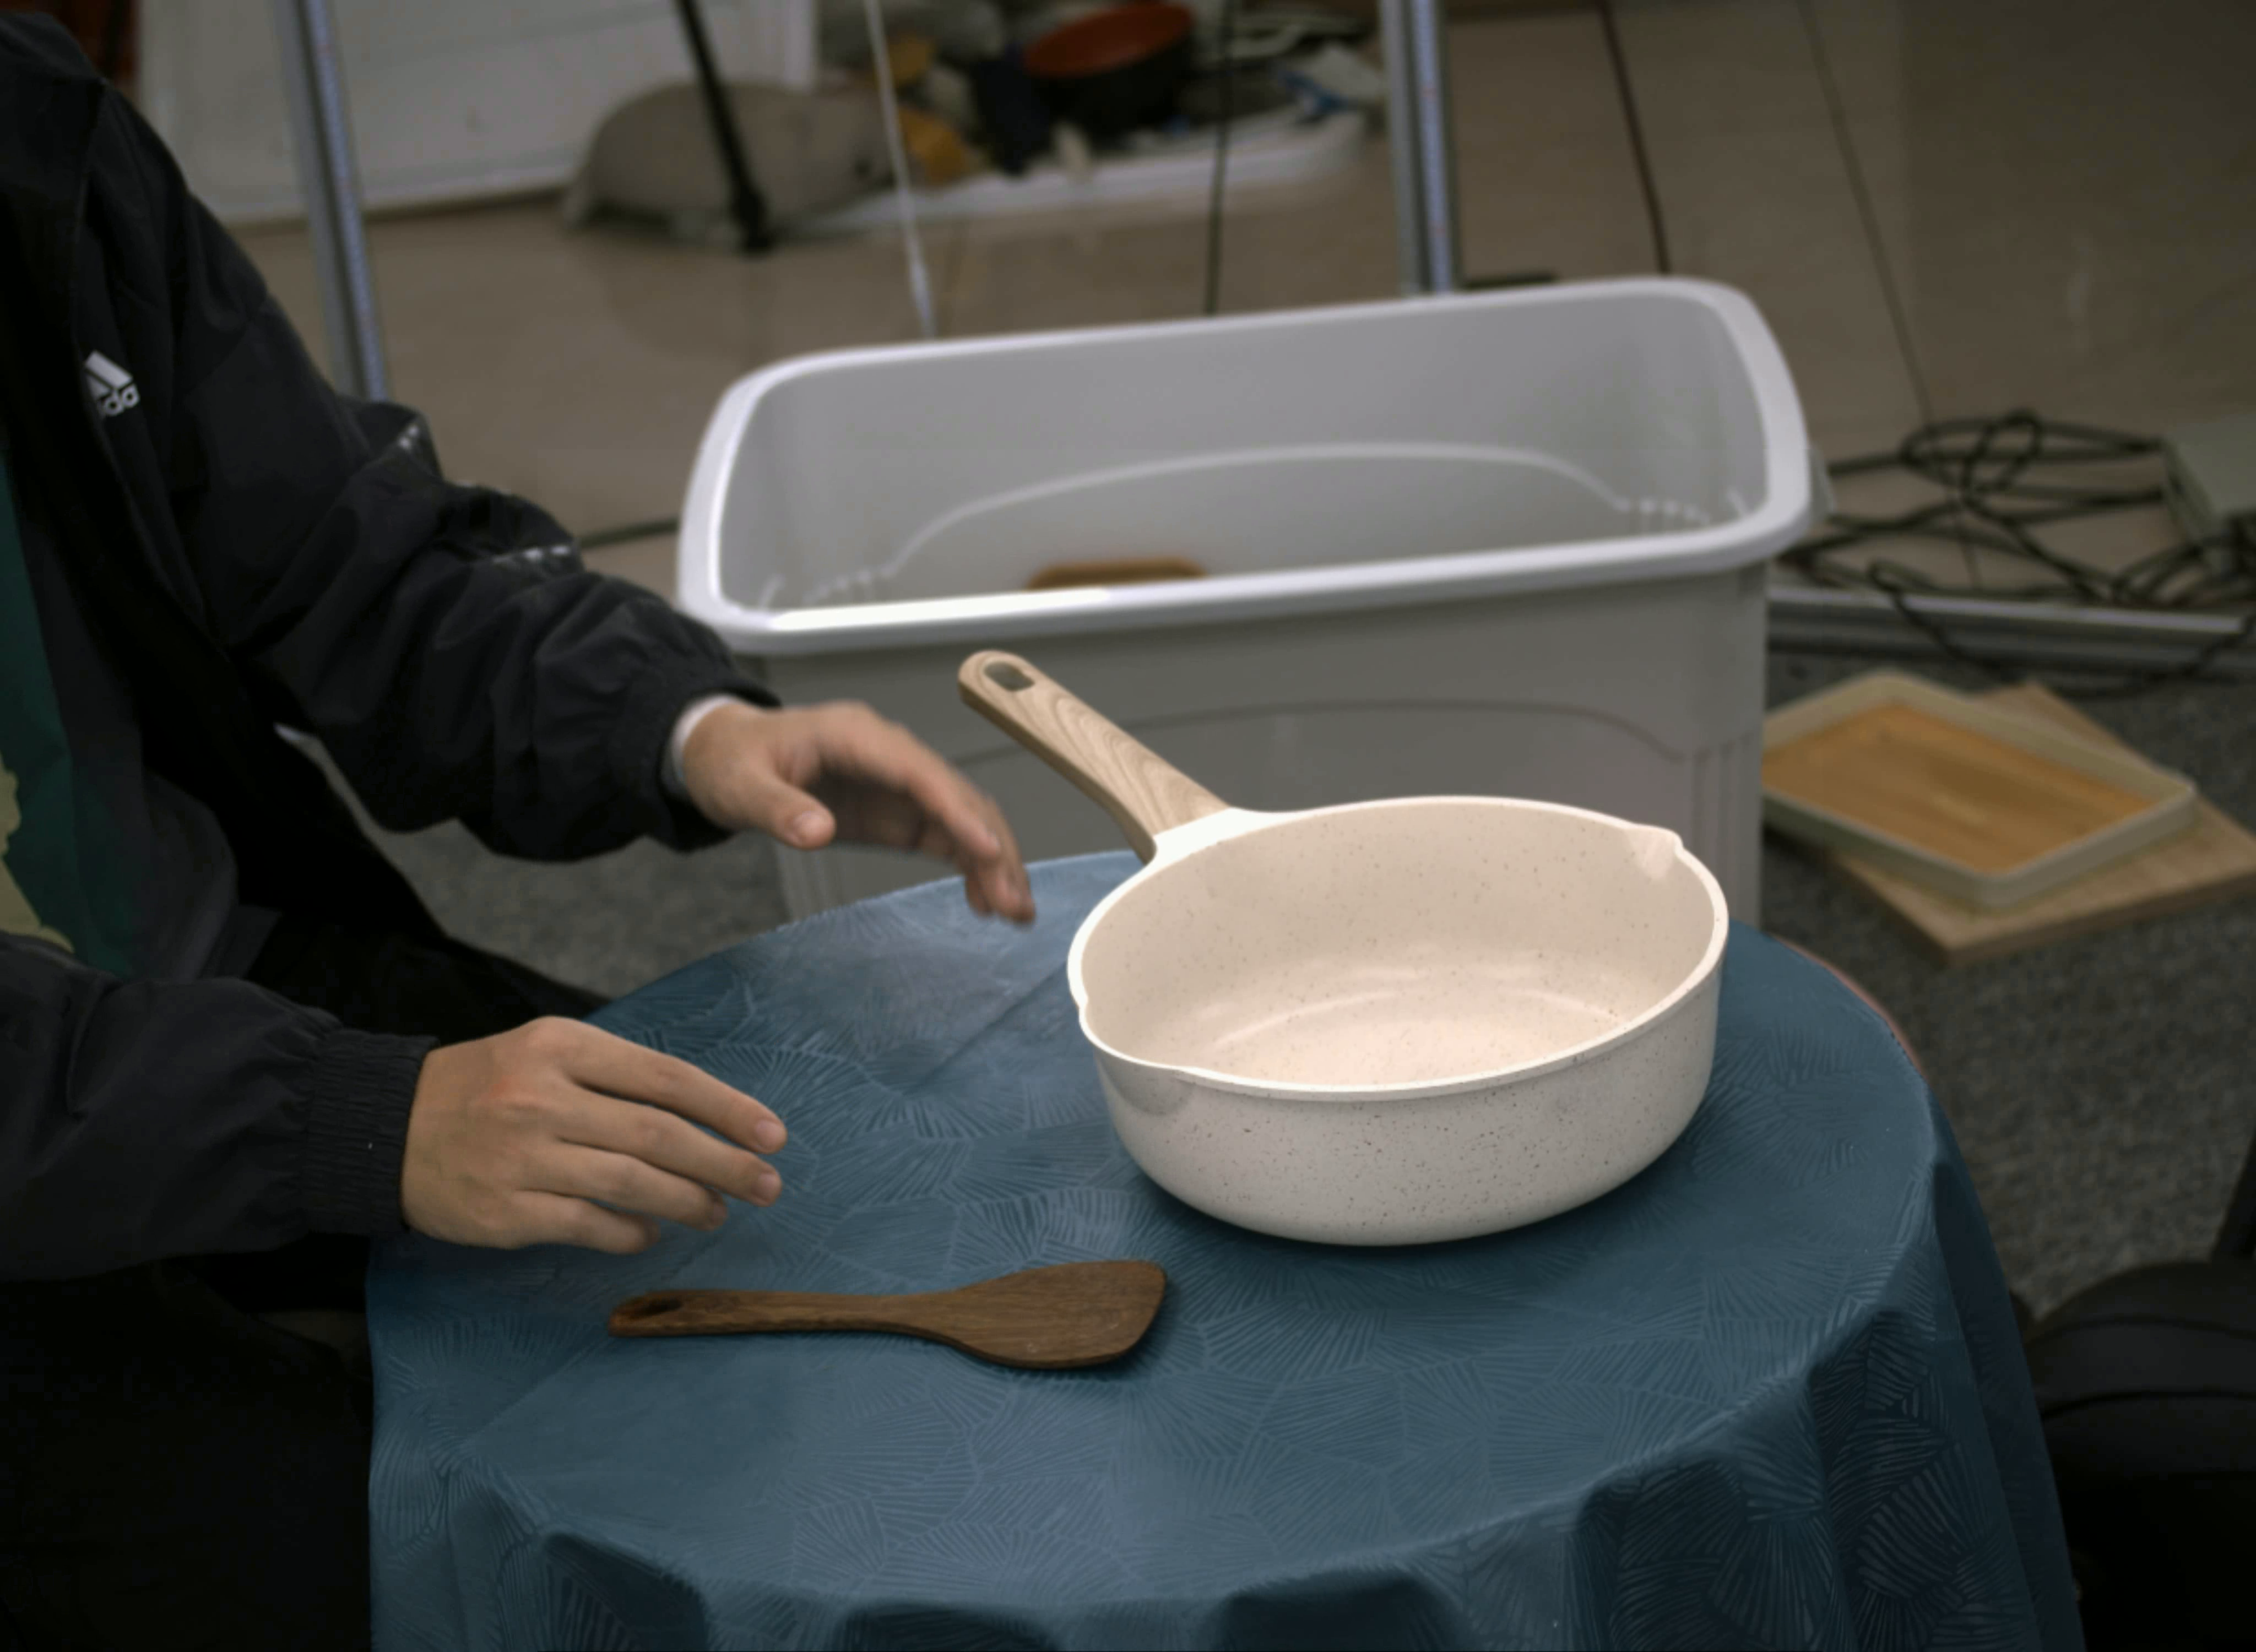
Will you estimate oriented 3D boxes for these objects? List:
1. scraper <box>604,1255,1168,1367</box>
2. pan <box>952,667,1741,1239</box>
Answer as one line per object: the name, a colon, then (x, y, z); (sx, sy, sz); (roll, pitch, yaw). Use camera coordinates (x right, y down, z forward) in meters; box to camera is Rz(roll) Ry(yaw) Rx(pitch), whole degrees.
scraper: (-0.090, 0.178, 2.076); (0.211, 0.011, 0.075); (-1, 24, 14)
pan: (0.060, 0.041, 2.224); (0.262, 0.103, 0.430); (-22, 28, -26)
